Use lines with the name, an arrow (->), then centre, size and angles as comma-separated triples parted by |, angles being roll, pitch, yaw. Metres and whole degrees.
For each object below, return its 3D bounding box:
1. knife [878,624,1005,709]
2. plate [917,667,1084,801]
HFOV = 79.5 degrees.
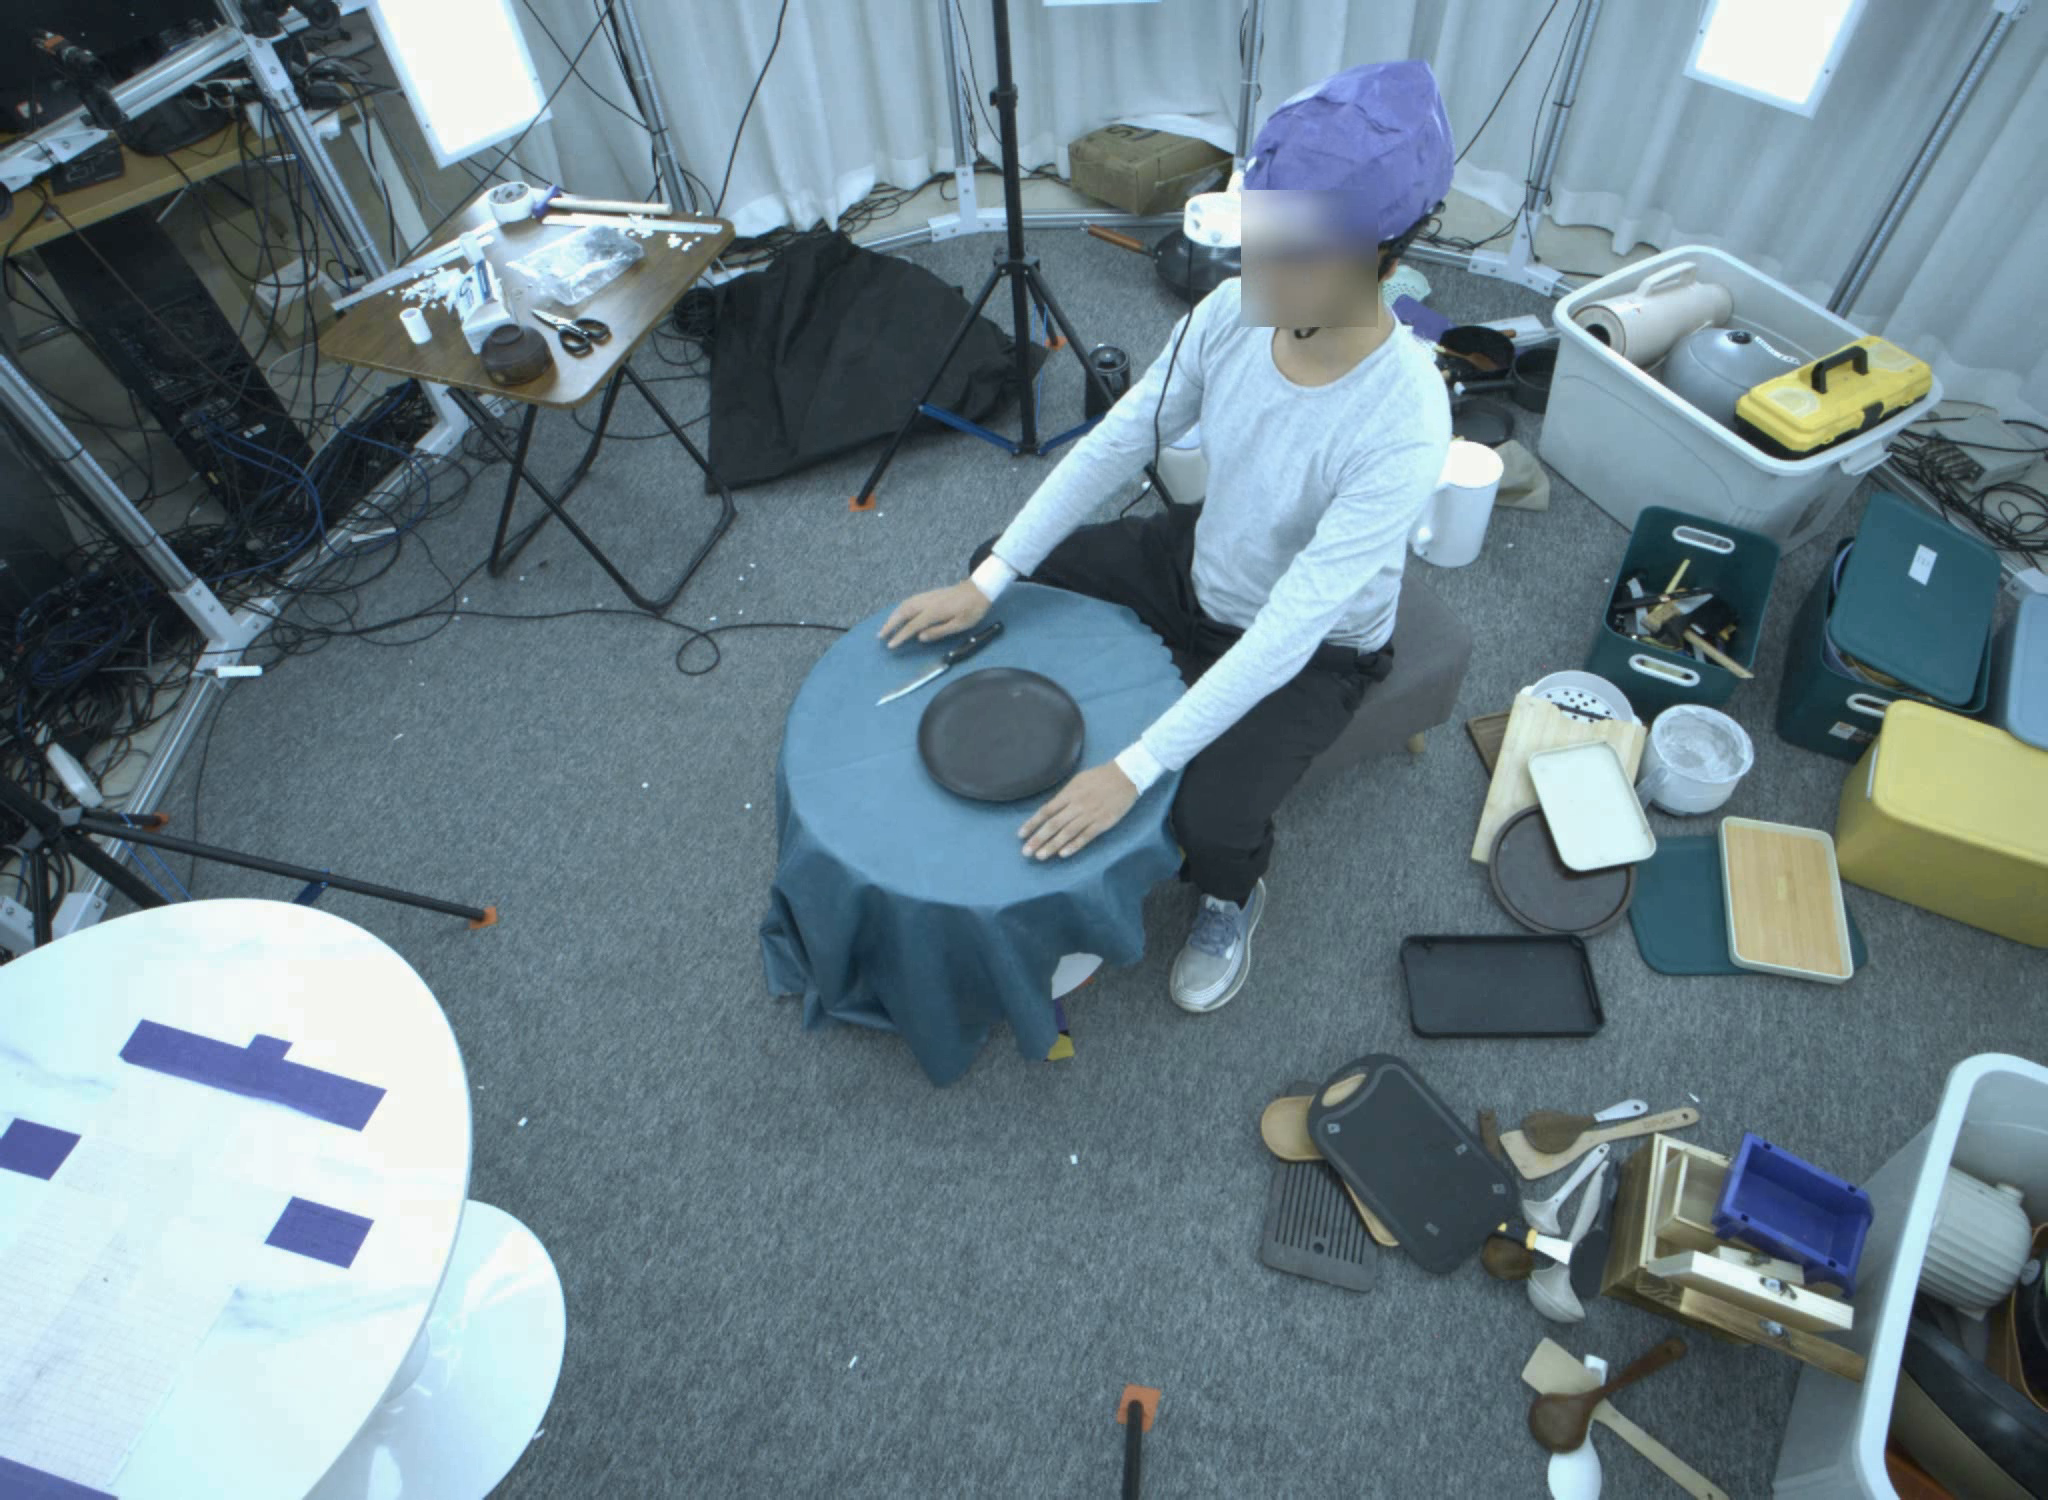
knife -> -0.128, -0.130, 1.884 | 0.240, 0.016, 0.024 | -35, 61, -18
plate -> -0.034, -0.022, 1.798 | 0.244, 0.023, 0.242 | 0, 54, 1
